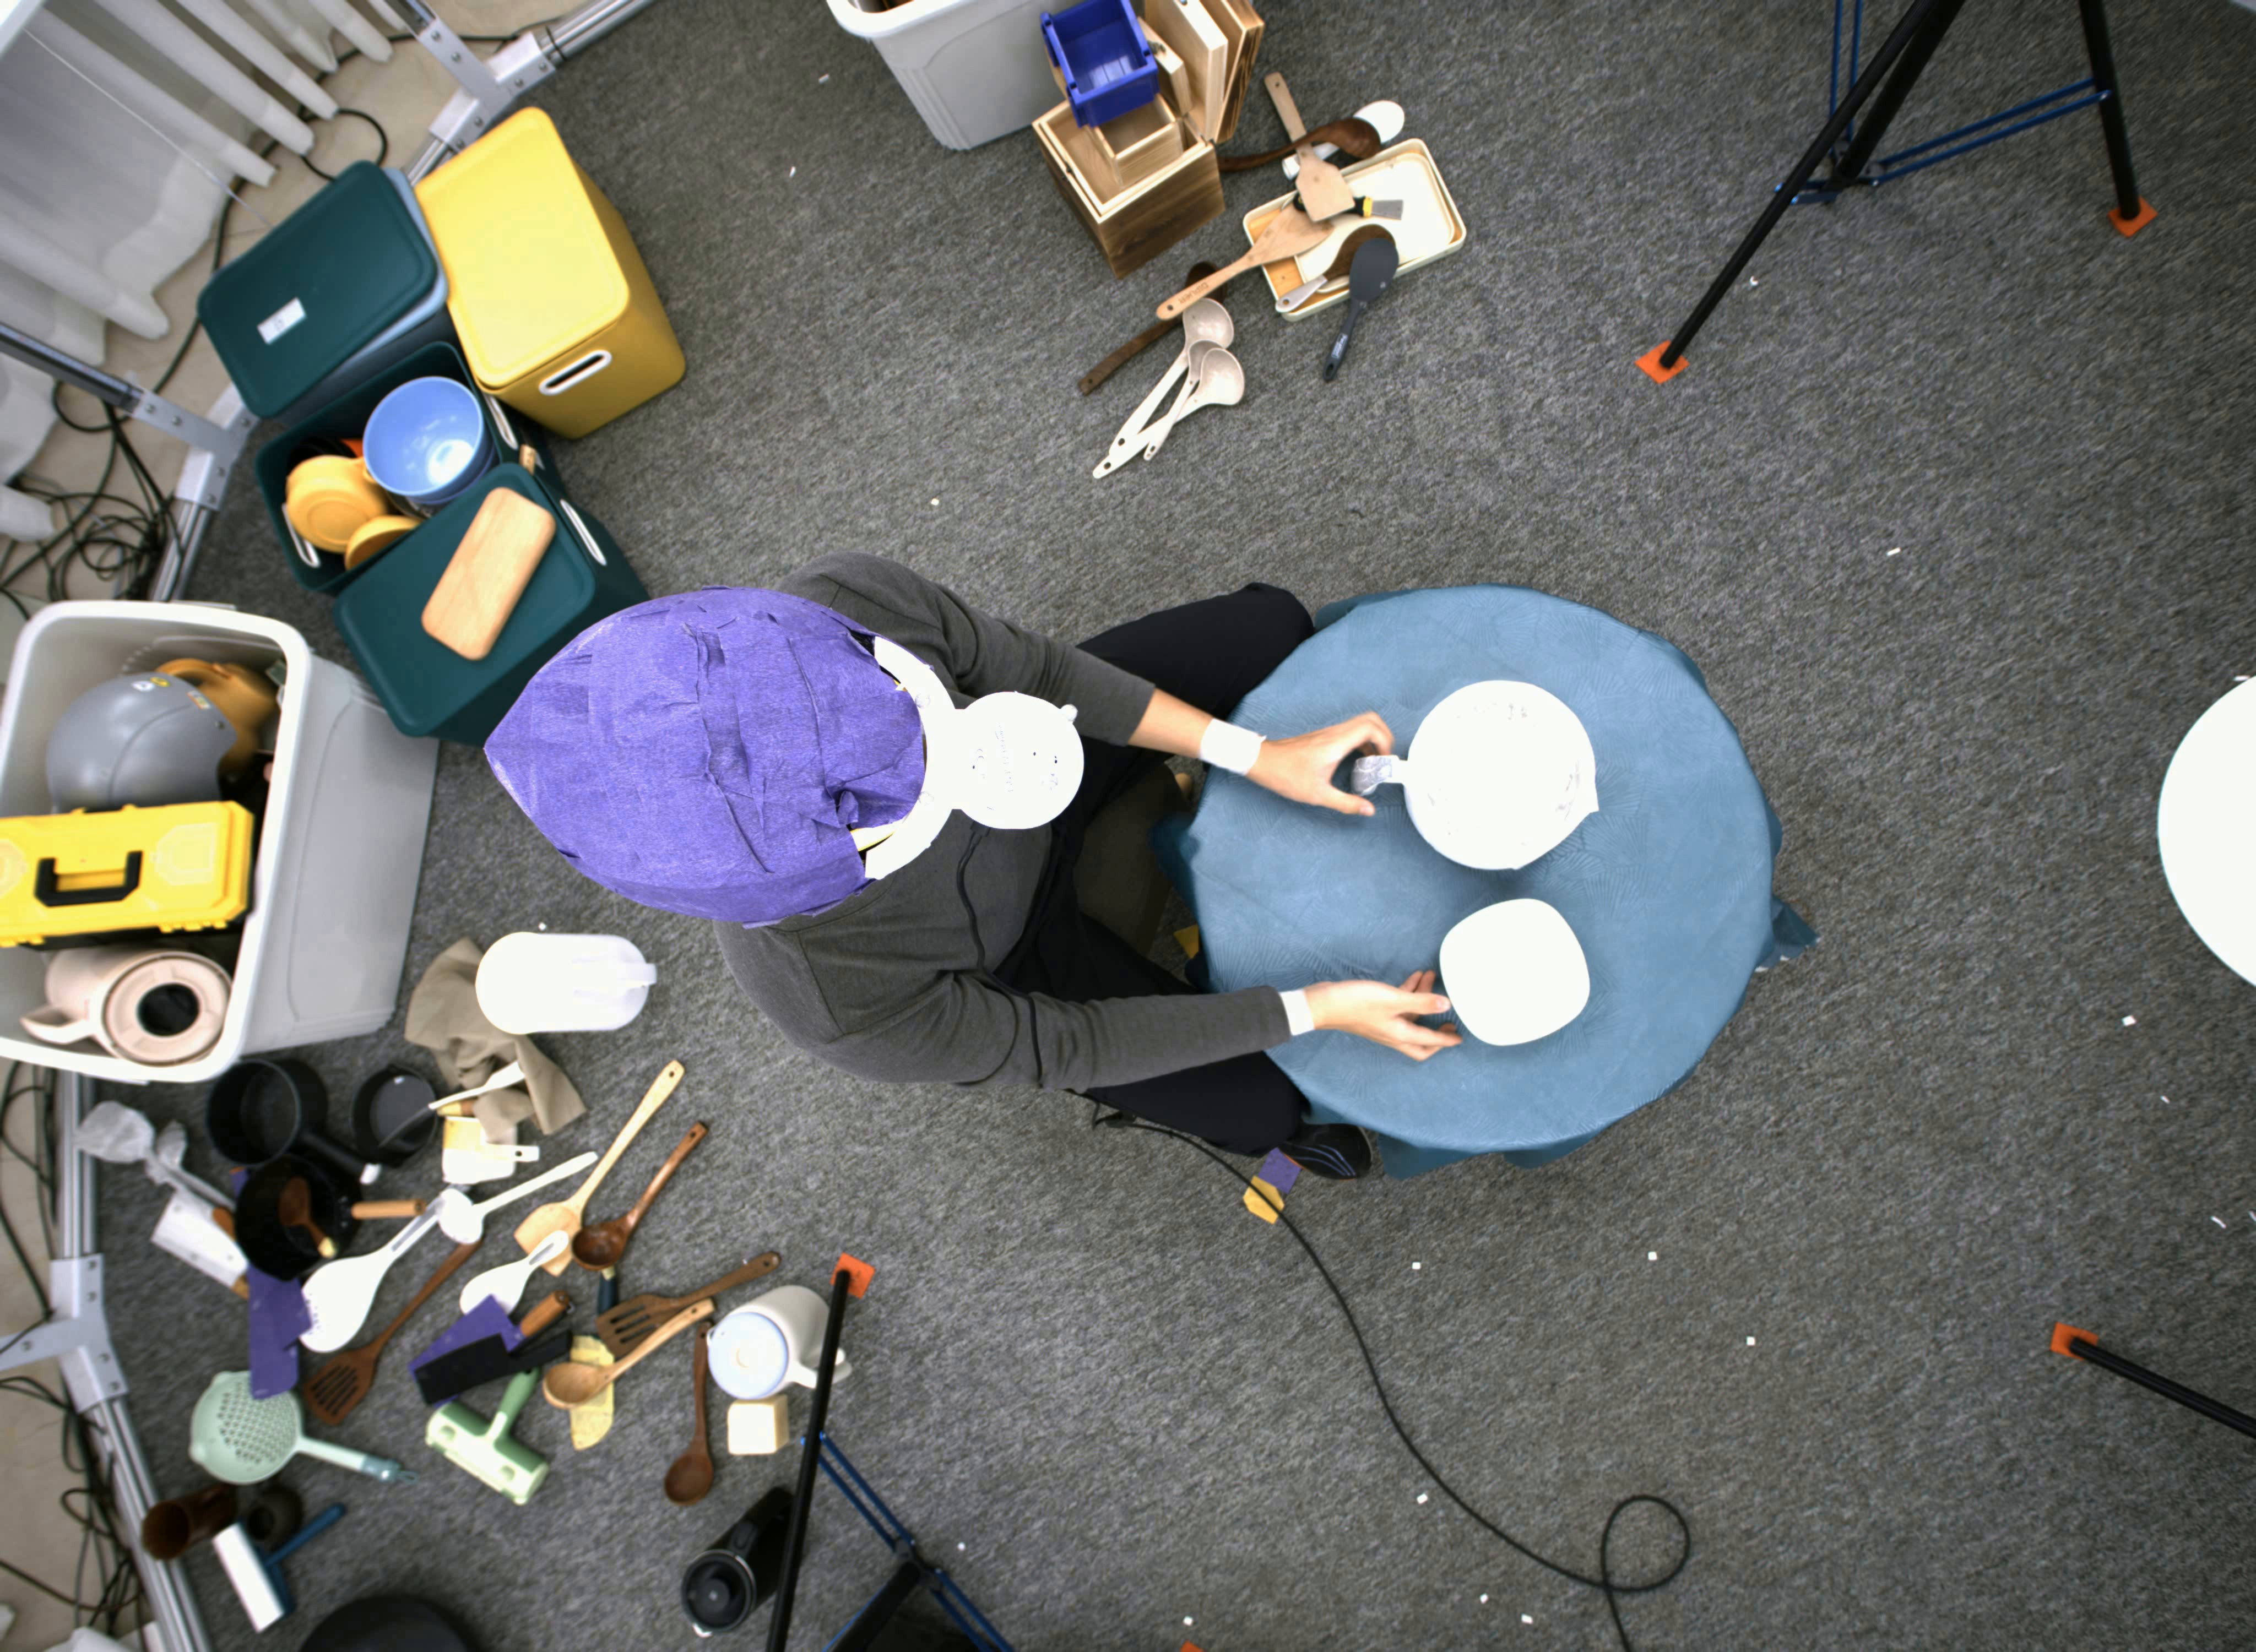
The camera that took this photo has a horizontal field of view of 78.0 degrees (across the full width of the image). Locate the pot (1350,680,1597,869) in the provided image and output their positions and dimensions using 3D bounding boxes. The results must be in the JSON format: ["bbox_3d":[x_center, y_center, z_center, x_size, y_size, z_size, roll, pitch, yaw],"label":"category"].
[{"bbox_3d":[0.341,-0.050,1.383,0.234,0.137,0.178,2,86,10],"label":"pot"}]

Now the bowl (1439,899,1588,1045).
[{"bbox_3d":[0.390,0.147,1.404,0.152,0.059,0.151,-1,86,8],"label":"bowl"}]
